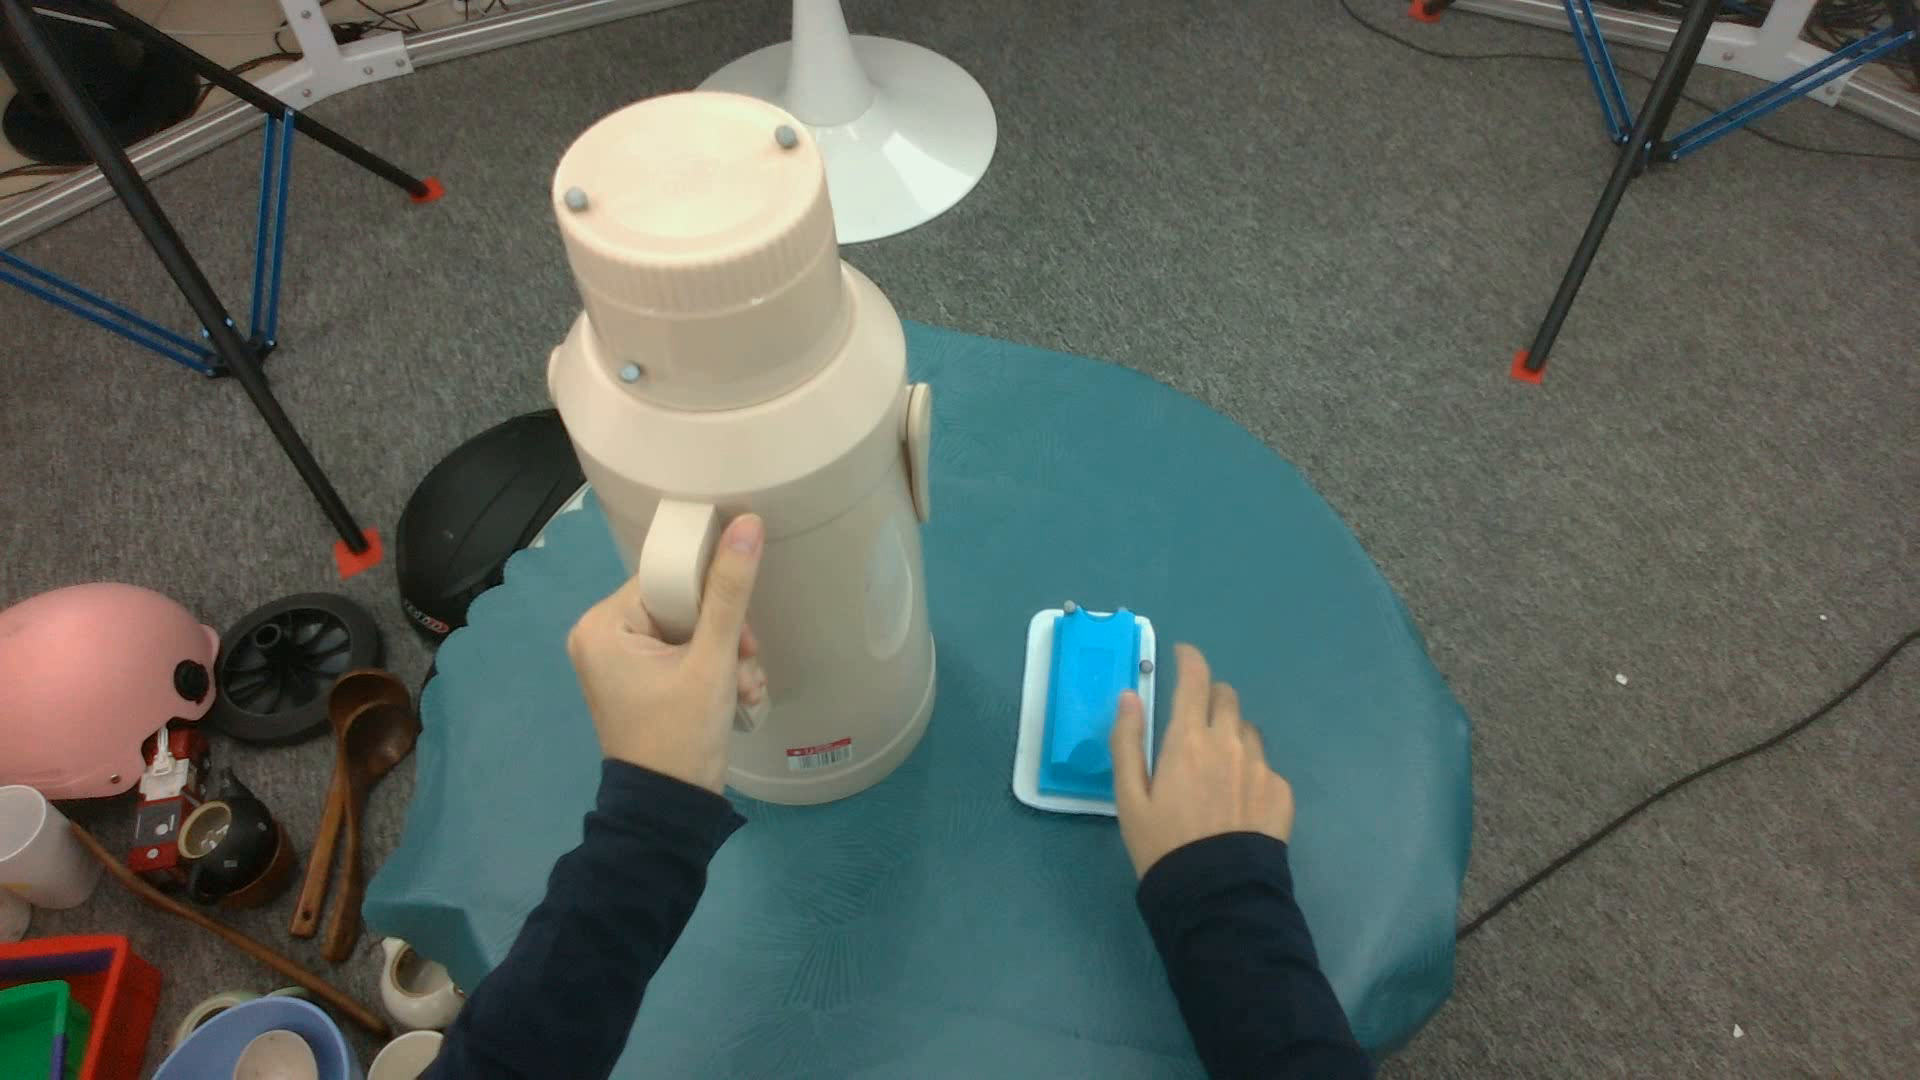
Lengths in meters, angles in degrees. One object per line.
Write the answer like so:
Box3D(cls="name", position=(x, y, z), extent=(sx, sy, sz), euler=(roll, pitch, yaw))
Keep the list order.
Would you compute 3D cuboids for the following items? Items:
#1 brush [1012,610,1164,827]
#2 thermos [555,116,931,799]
Box3D(cls="brush", position=(0.079, 0.099, 0.825), extent=(0.084, 0.055, 0.144), euler=(5, 51, 9))
Box3D(cls="thermos", position=(-0.105, -0.010, 0.705), extent=(0.175, 0.404, 0.208), euler=(6, 55, 5))
